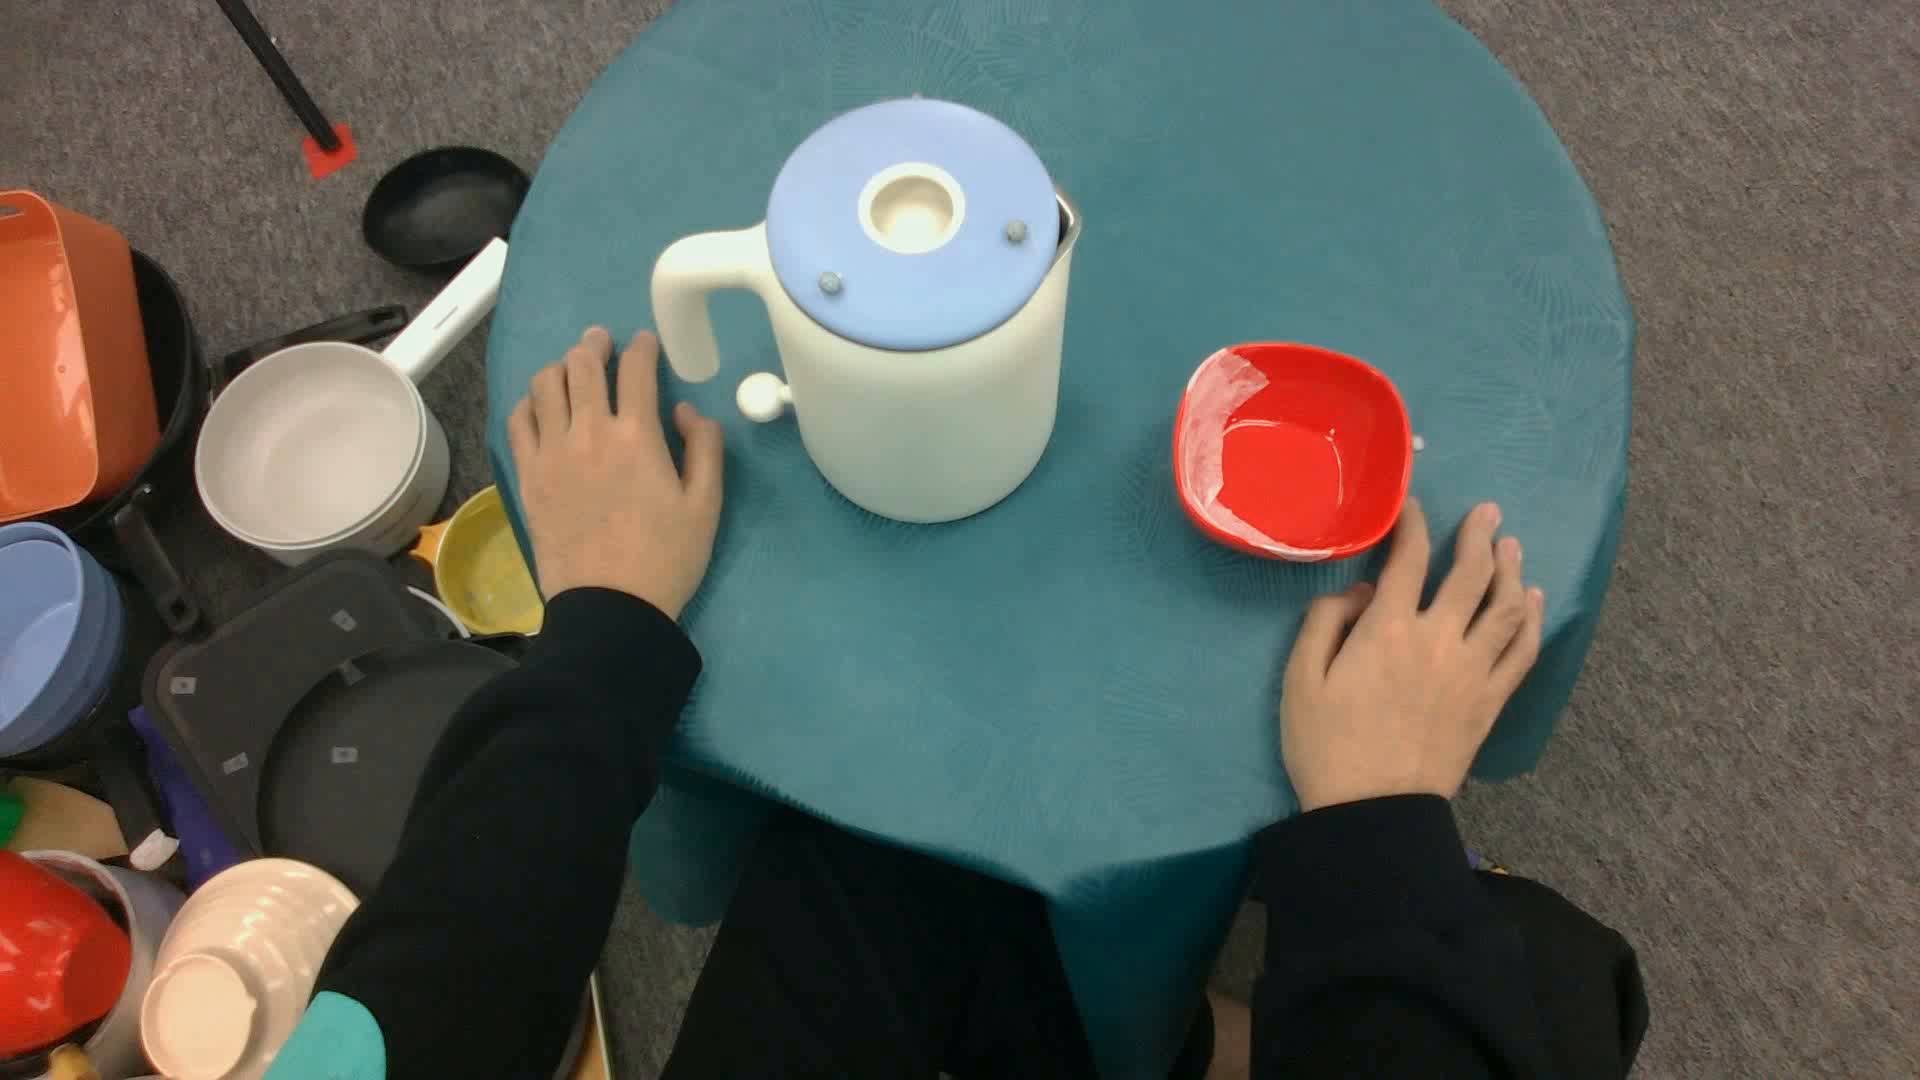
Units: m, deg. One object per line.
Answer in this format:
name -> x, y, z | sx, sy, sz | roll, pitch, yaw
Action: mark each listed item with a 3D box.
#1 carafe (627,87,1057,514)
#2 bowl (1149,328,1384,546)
carafe -> -0.053, -0.101, 0.628 | 0.191, 0.182, 0.132 | -4, 67, 0
bowl -> 0.143, -0.042, 0.667 | 0.119, 0.051, 0.119 | 1, 66, -2
